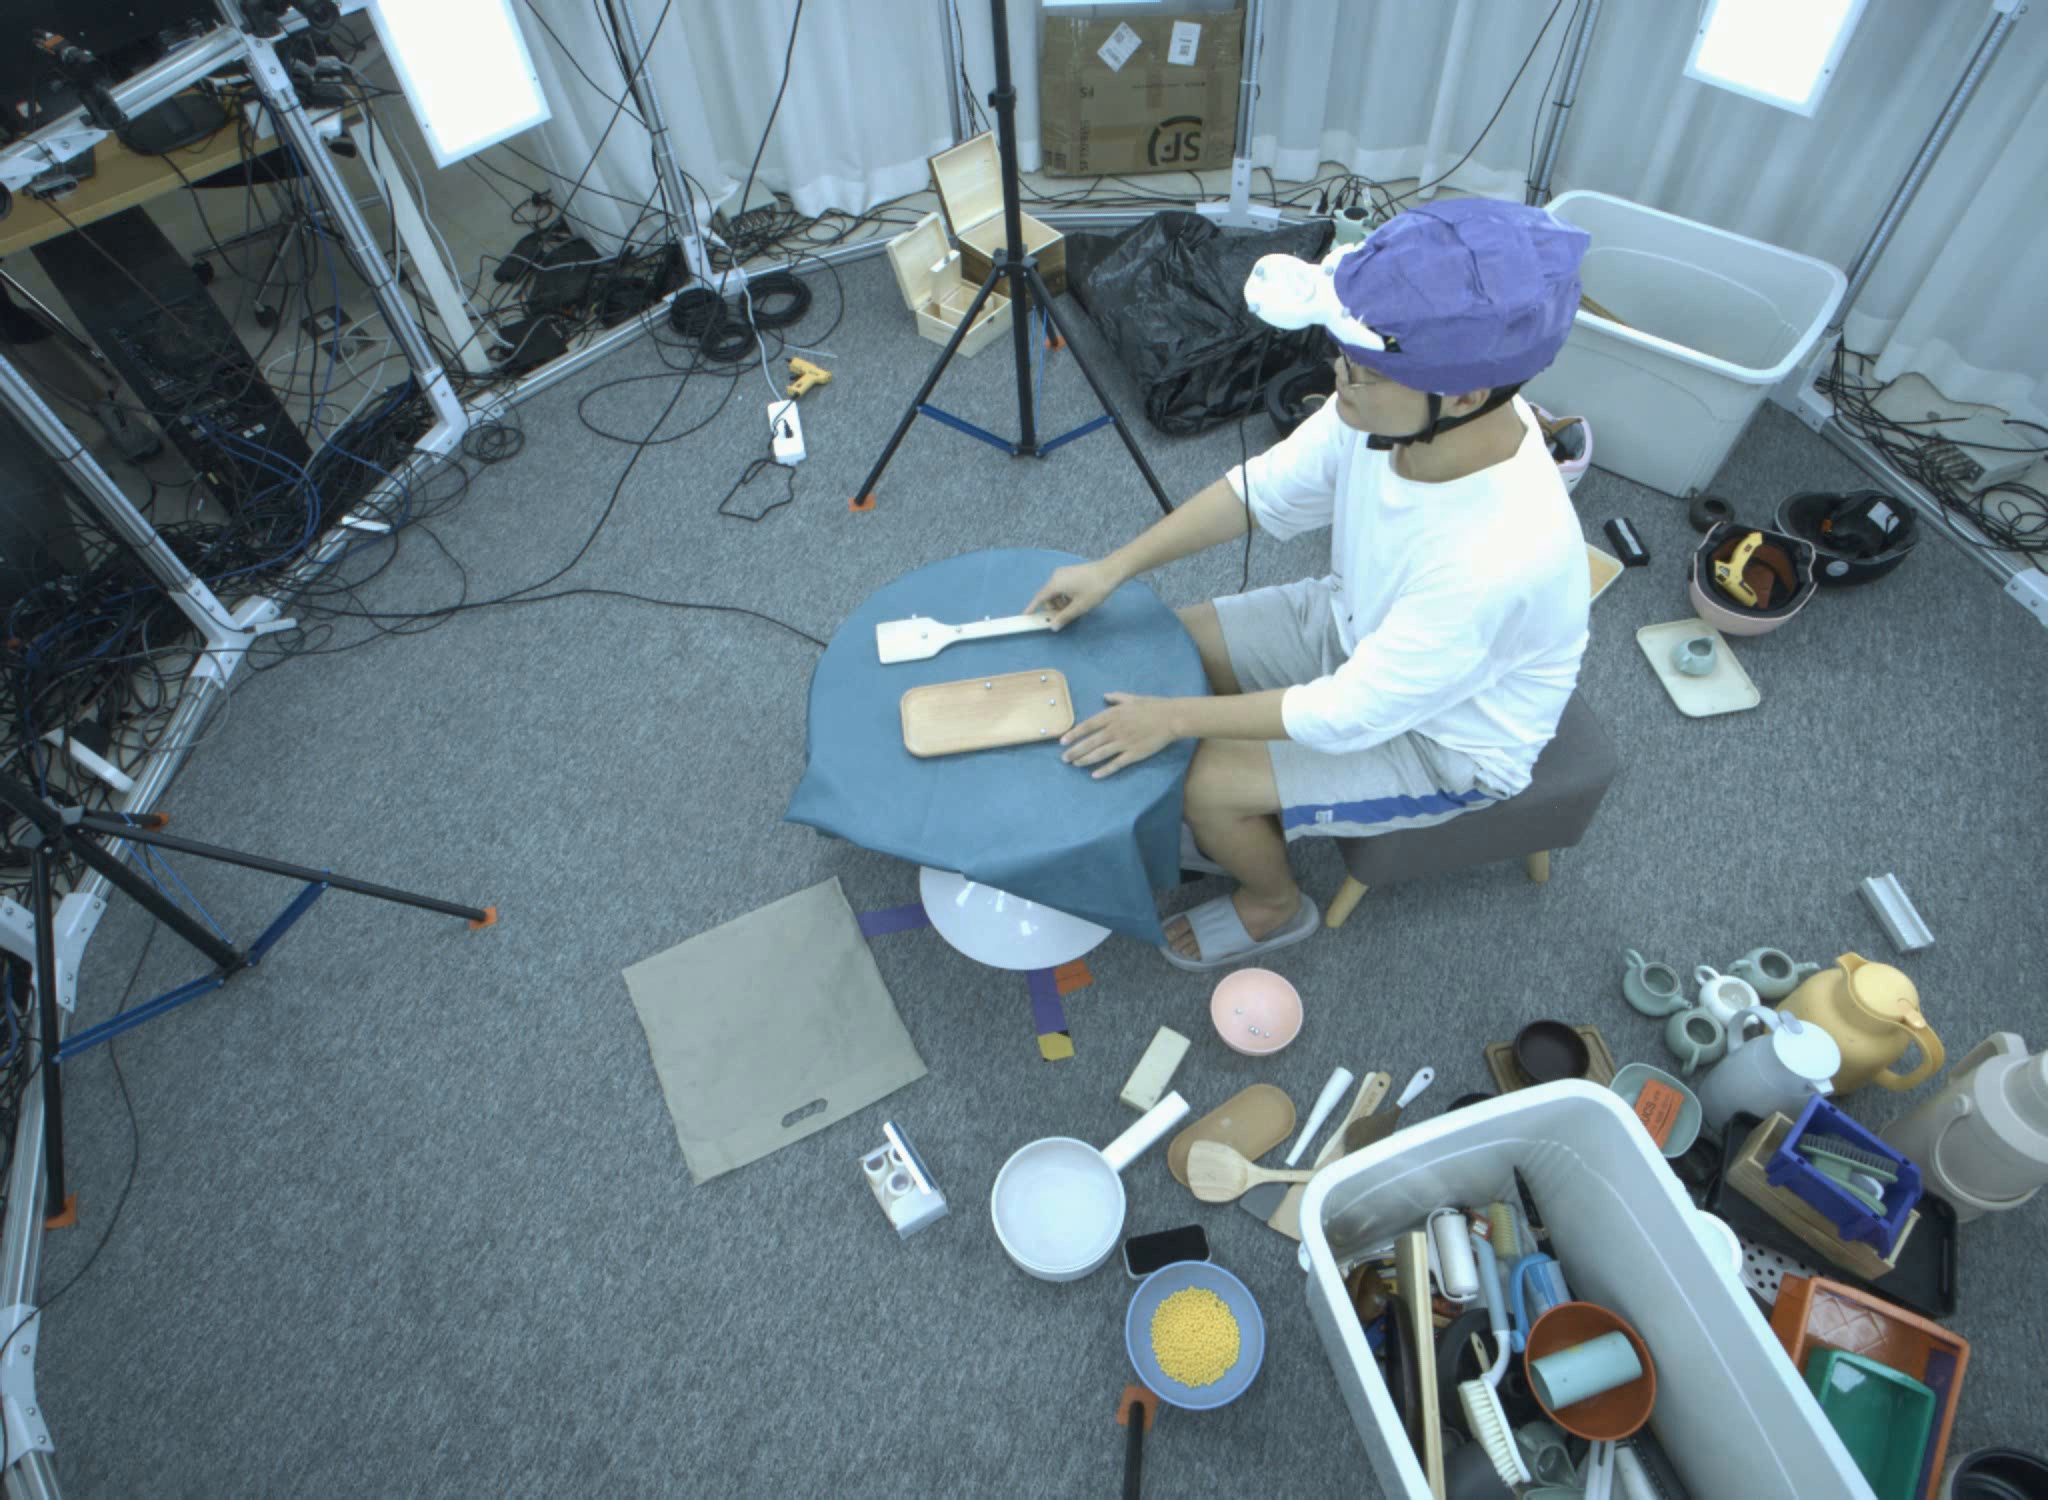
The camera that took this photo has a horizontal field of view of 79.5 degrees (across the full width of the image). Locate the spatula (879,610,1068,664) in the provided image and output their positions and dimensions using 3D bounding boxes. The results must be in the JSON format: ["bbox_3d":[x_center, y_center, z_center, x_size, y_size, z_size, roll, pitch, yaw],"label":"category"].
[{"bbox_3d":[-0.078,-0.186,1.903,0.294,0.011,0.071,-9,68,-3],"label":"spatula"}]

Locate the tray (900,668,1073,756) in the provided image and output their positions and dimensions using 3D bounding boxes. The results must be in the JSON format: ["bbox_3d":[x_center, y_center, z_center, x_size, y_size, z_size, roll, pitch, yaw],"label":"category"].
[{"bbox_3d":[-0.056,-0.056,1.817,0.251,0.023,0.129,-8,52,-3],"label":"tray"}]
